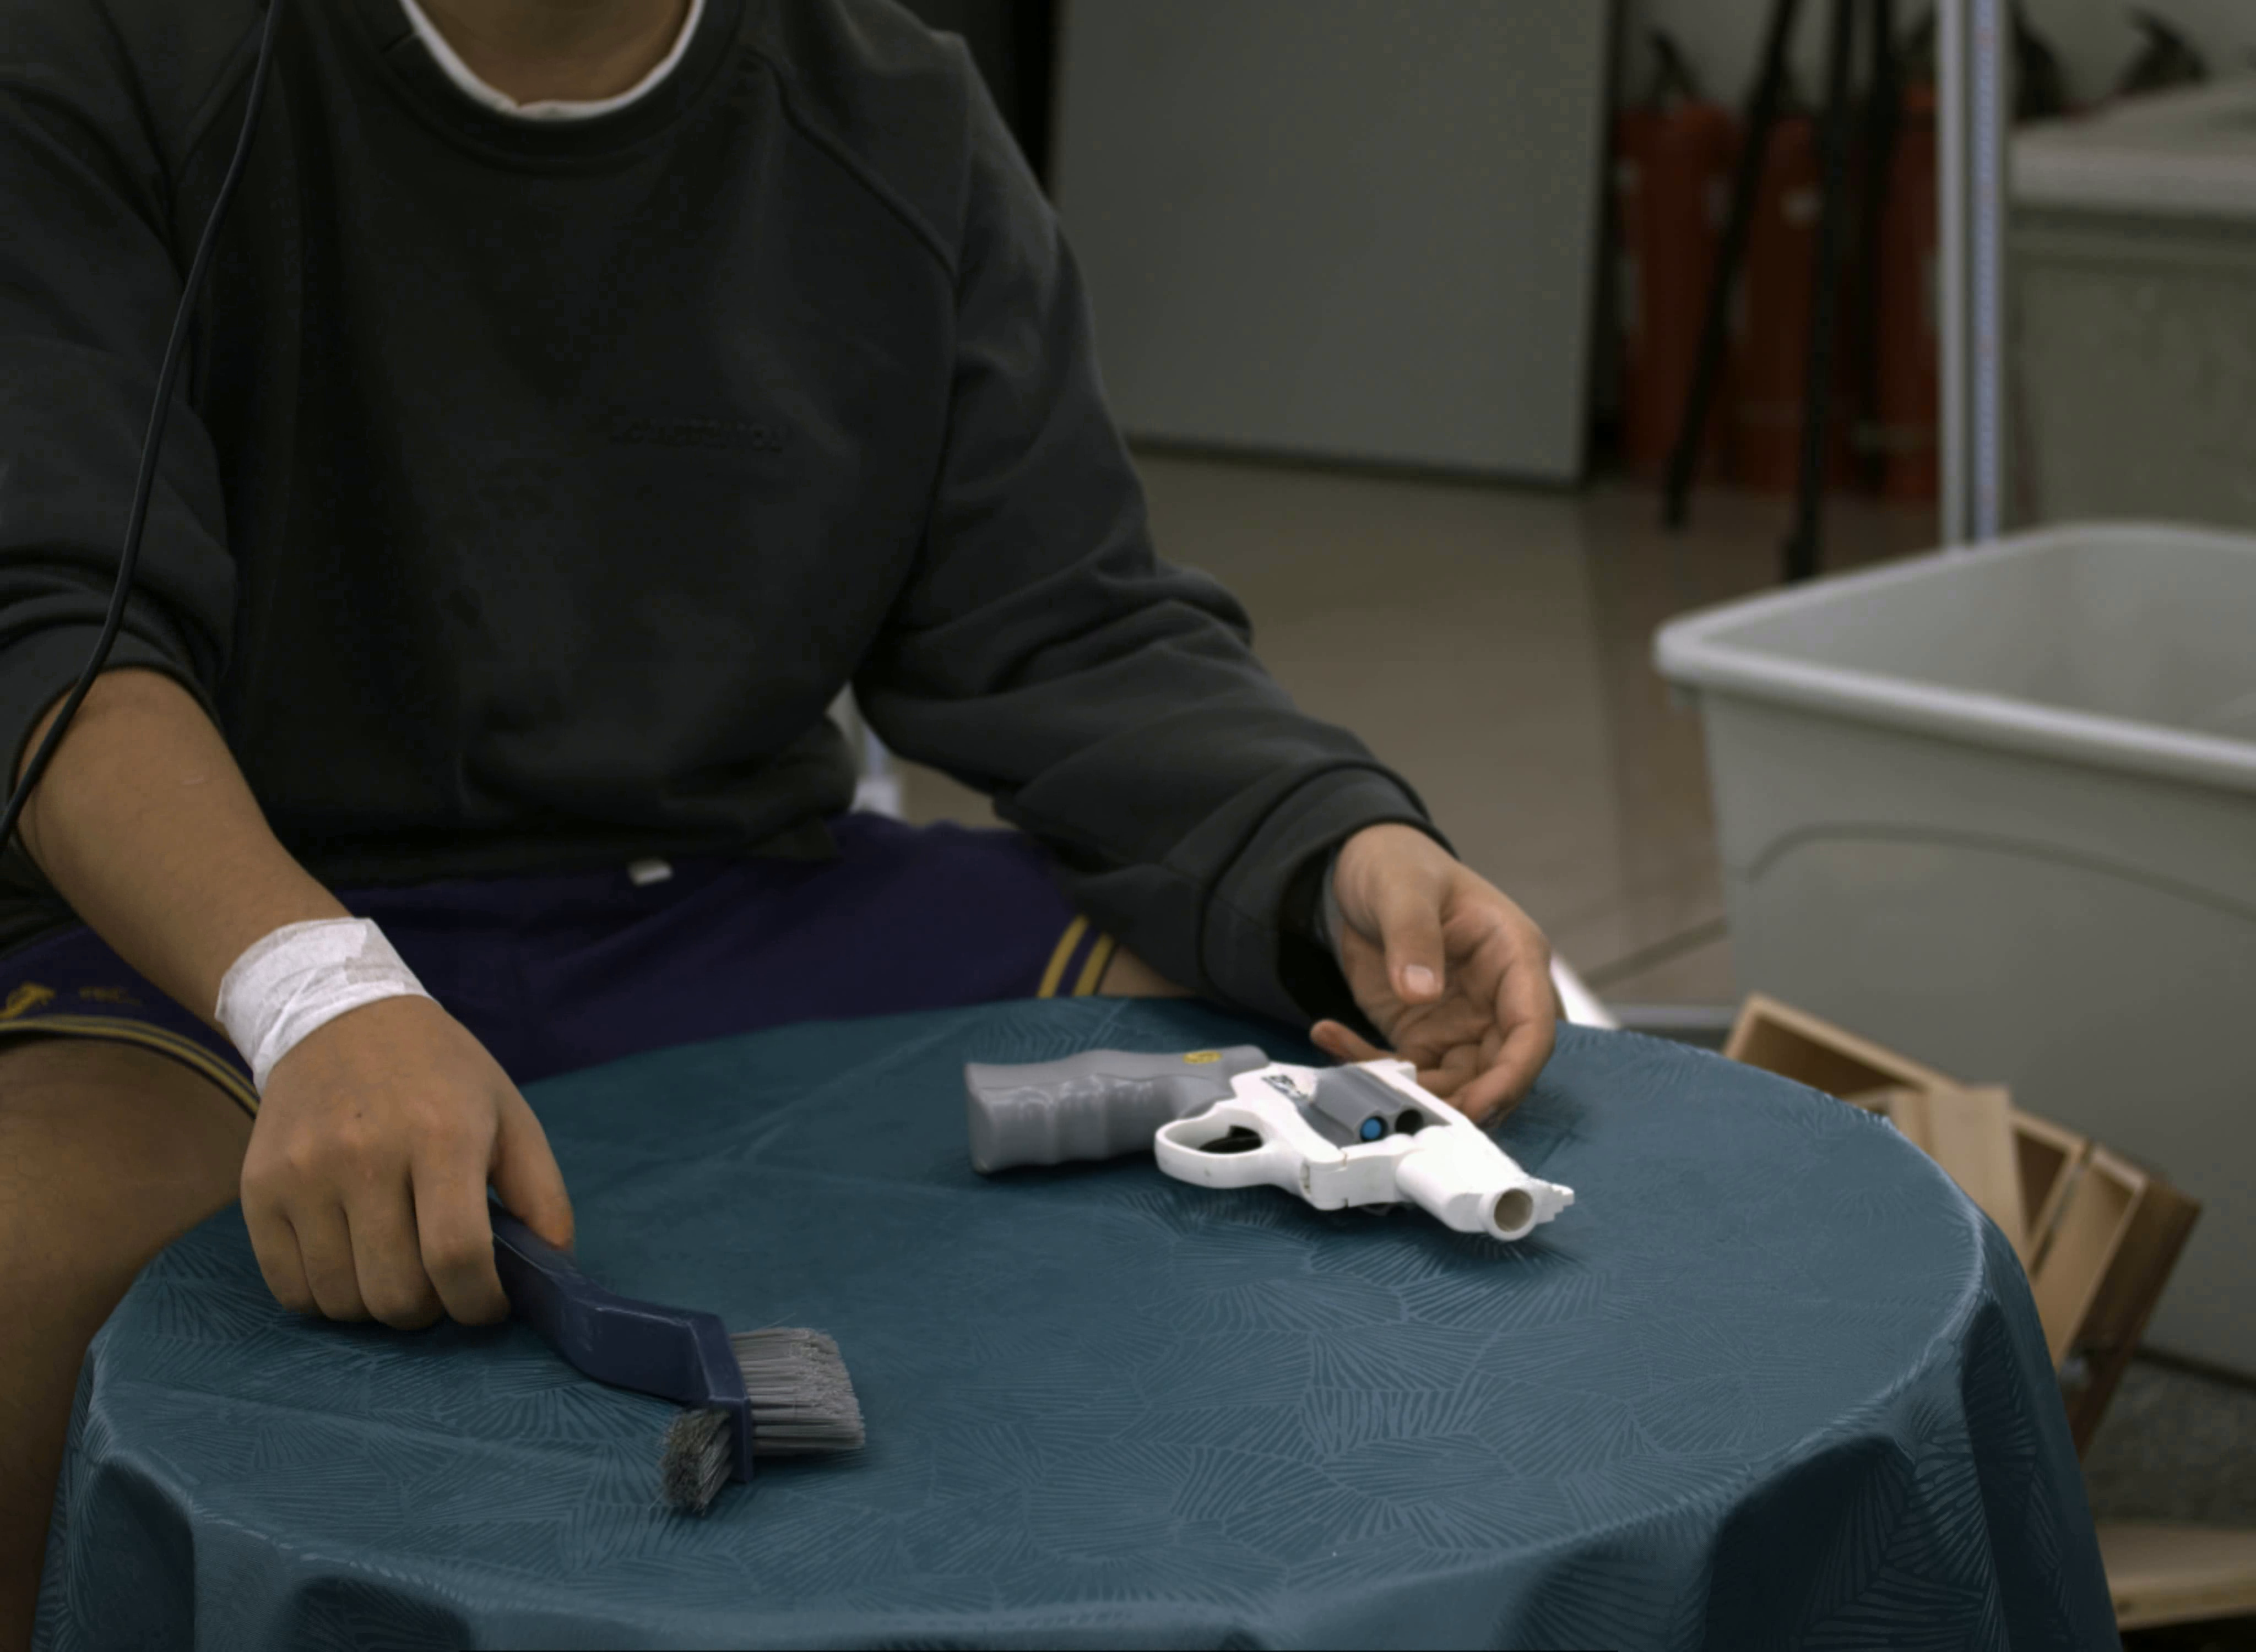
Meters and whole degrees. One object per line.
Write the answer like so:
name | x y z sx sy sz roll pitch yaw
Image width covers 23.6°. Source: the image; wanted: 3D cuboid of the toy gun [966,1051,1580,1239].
toy gun | 0.041 0.105 1.745 0.139 0.039 0.211 -11 15 -20

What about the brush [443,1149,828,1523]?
brush | -0.170 0.150 1.634 0.093 0.034 0.276 -13 16 -31
